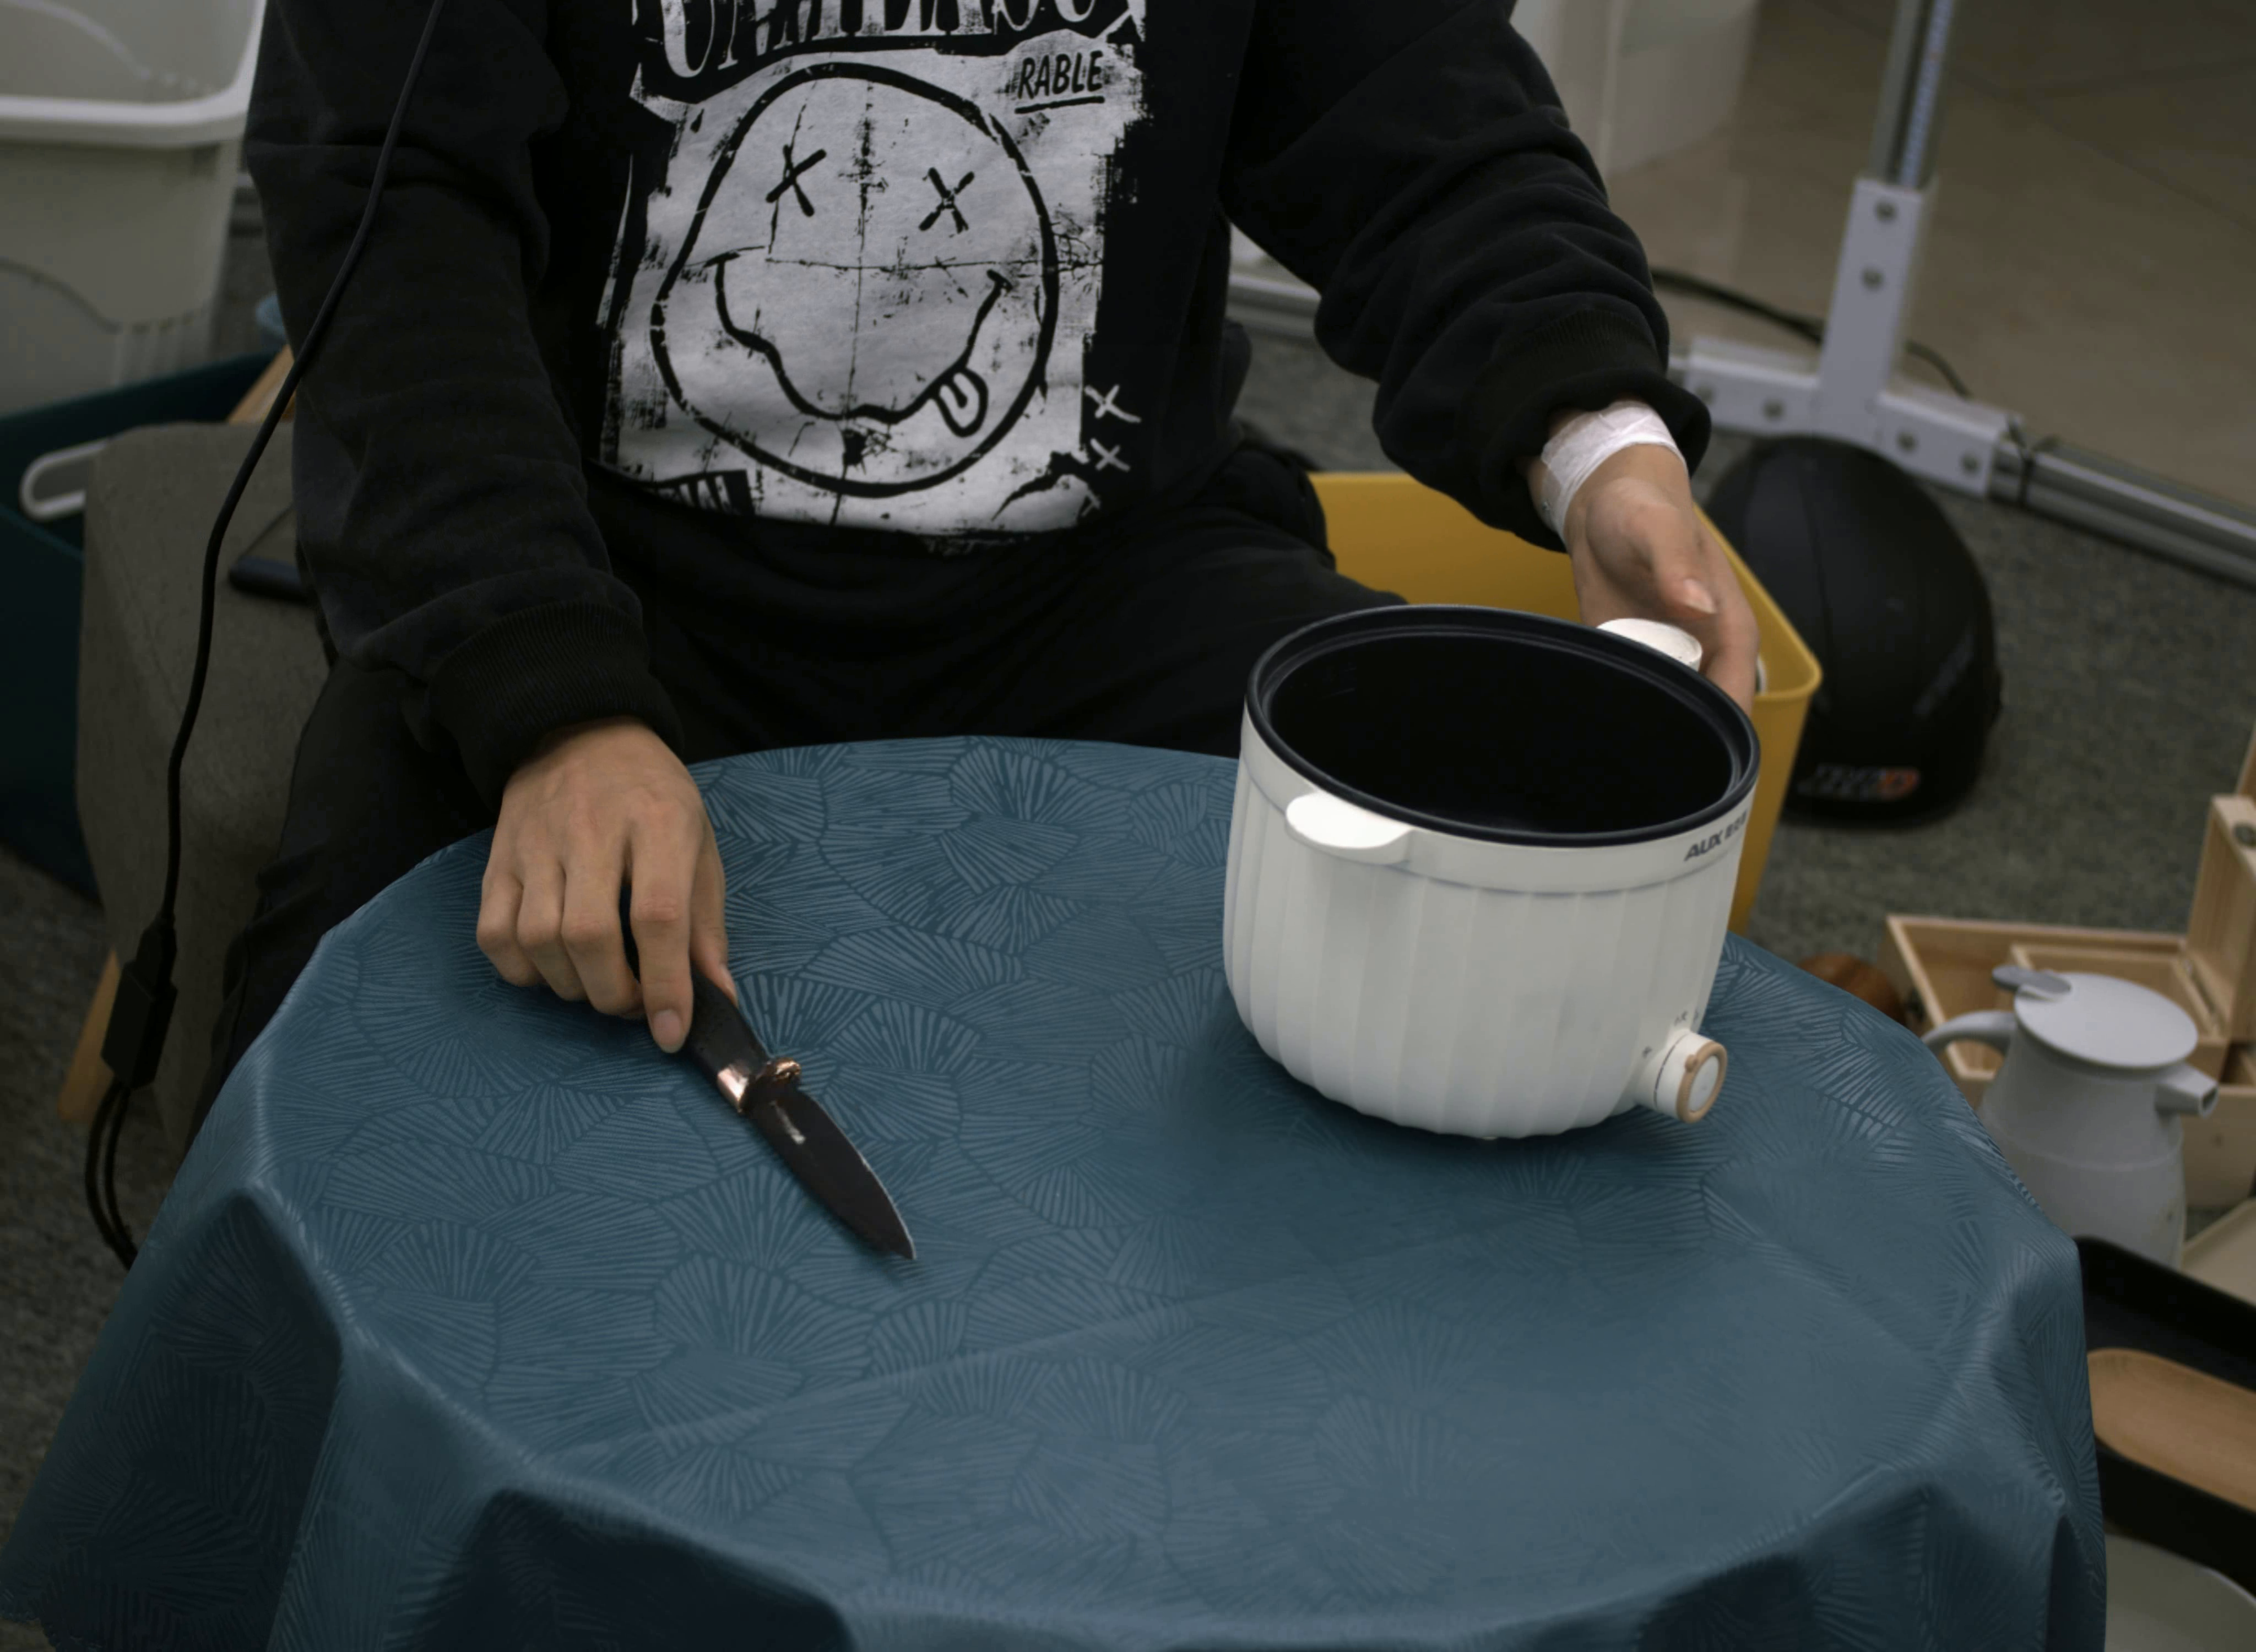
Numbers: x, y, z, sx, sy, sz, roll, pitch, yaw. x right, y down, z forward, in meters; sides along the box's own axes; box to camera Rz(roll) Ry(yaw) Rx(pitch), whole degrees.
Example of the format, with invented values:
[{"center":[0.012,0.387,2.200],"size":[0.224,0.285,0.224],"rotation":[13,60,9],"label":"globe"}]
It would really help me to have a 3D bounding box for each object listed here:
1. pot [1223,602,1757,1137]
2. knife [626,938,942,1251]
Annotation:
[{"center":[0.128,0.021,1.882],"size":[0.191,0.142,0.240],"rotation":[19,31,30],"label":"pot"},{"center":[-0.120,0.092,1.820],"size":[0.026,0.017,0.227],"rotation":[-25,35,-18],"label":"knife"}]
